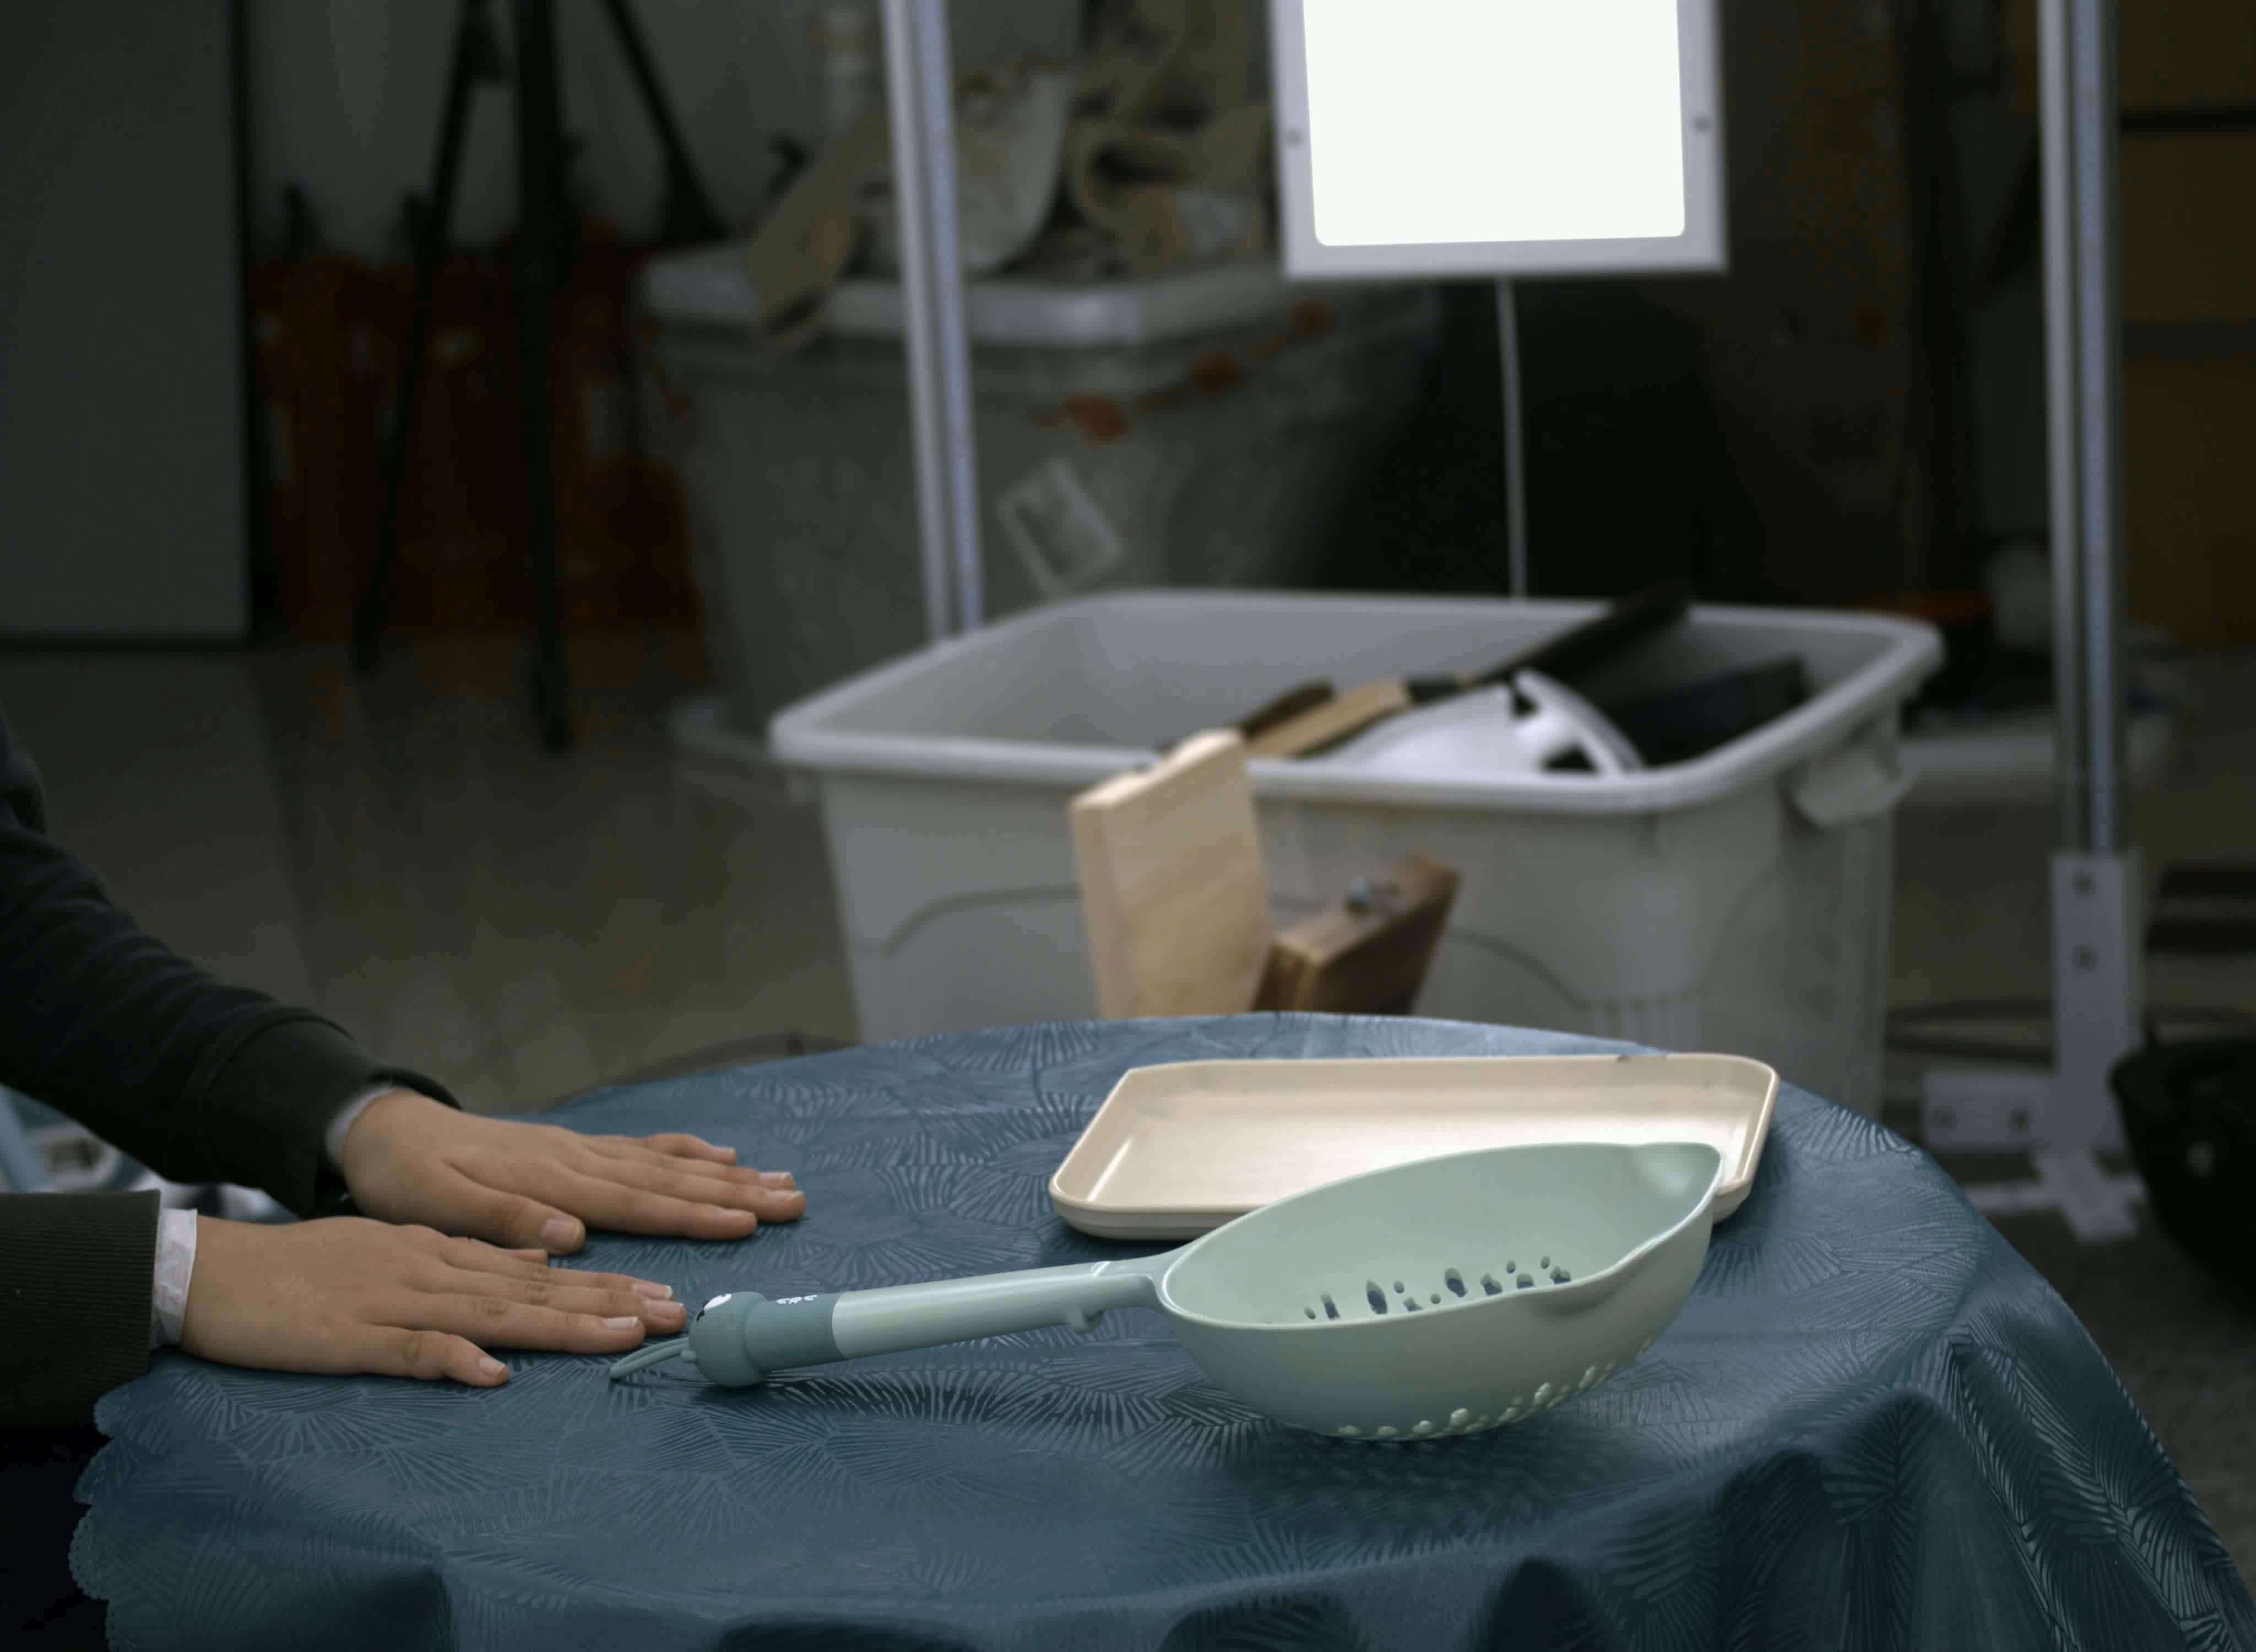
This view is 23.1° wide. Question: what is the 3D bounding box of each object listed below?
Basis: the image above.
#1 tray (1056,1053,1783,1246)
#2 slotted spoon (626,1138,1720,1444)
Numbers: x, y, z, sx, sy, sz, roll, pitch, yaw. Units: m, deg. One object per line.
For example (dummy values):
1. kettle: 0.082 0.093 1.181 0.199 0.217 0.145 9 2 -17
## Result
1. tray: 0.103 0.112 1.887 0.242 0.017 0.169 -3 14 14
2. slotted spoon: 0.006 0.146 1.684 0.364 0.075 0.166 0 14 22
